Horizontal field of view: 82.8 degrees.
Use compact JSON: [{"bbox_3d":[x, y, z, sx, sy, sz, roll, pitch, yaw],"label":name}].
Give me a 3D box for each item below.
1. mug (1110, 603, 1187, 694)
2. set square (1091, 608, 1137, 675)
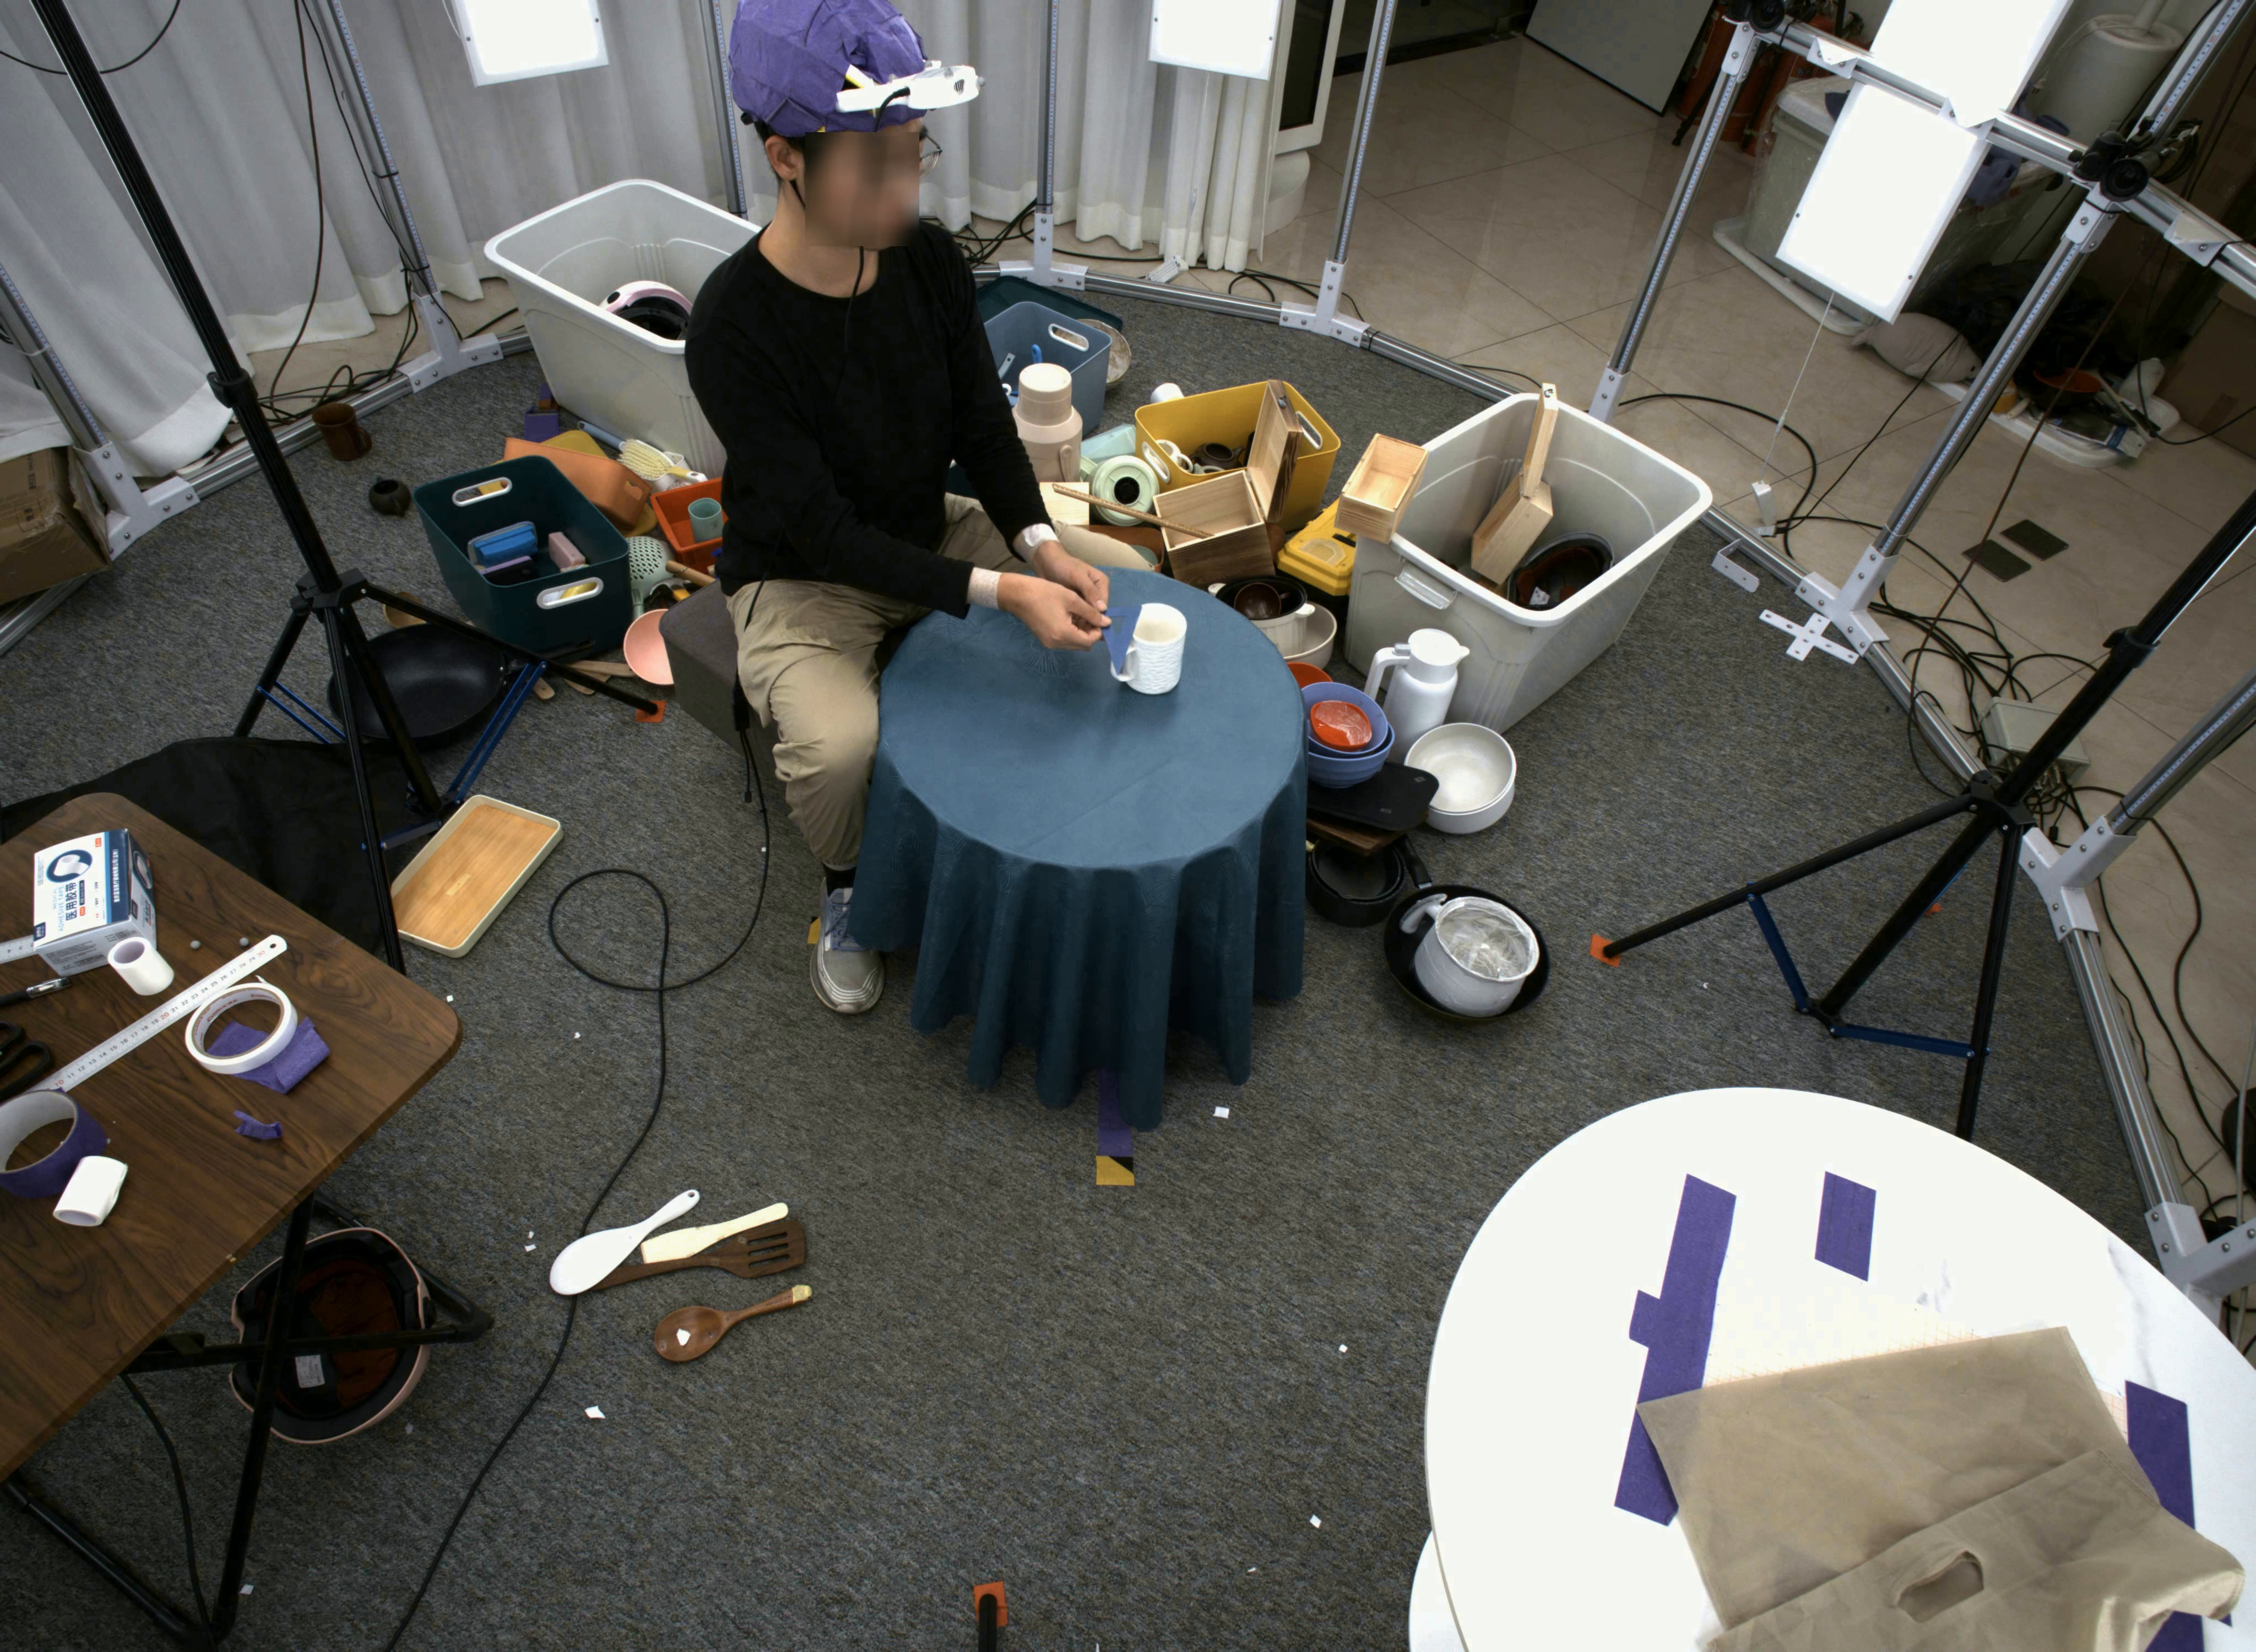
[{"bbox_3d":[0.024,-0.243,1.816,0.119,0.099,0.086,-31,58,-27],"label":"mug"},{"bbox_3d":[-0.033,-0.260,1.750,0.061,0.006,0.135,22,54,1],"label":"set square"}]
